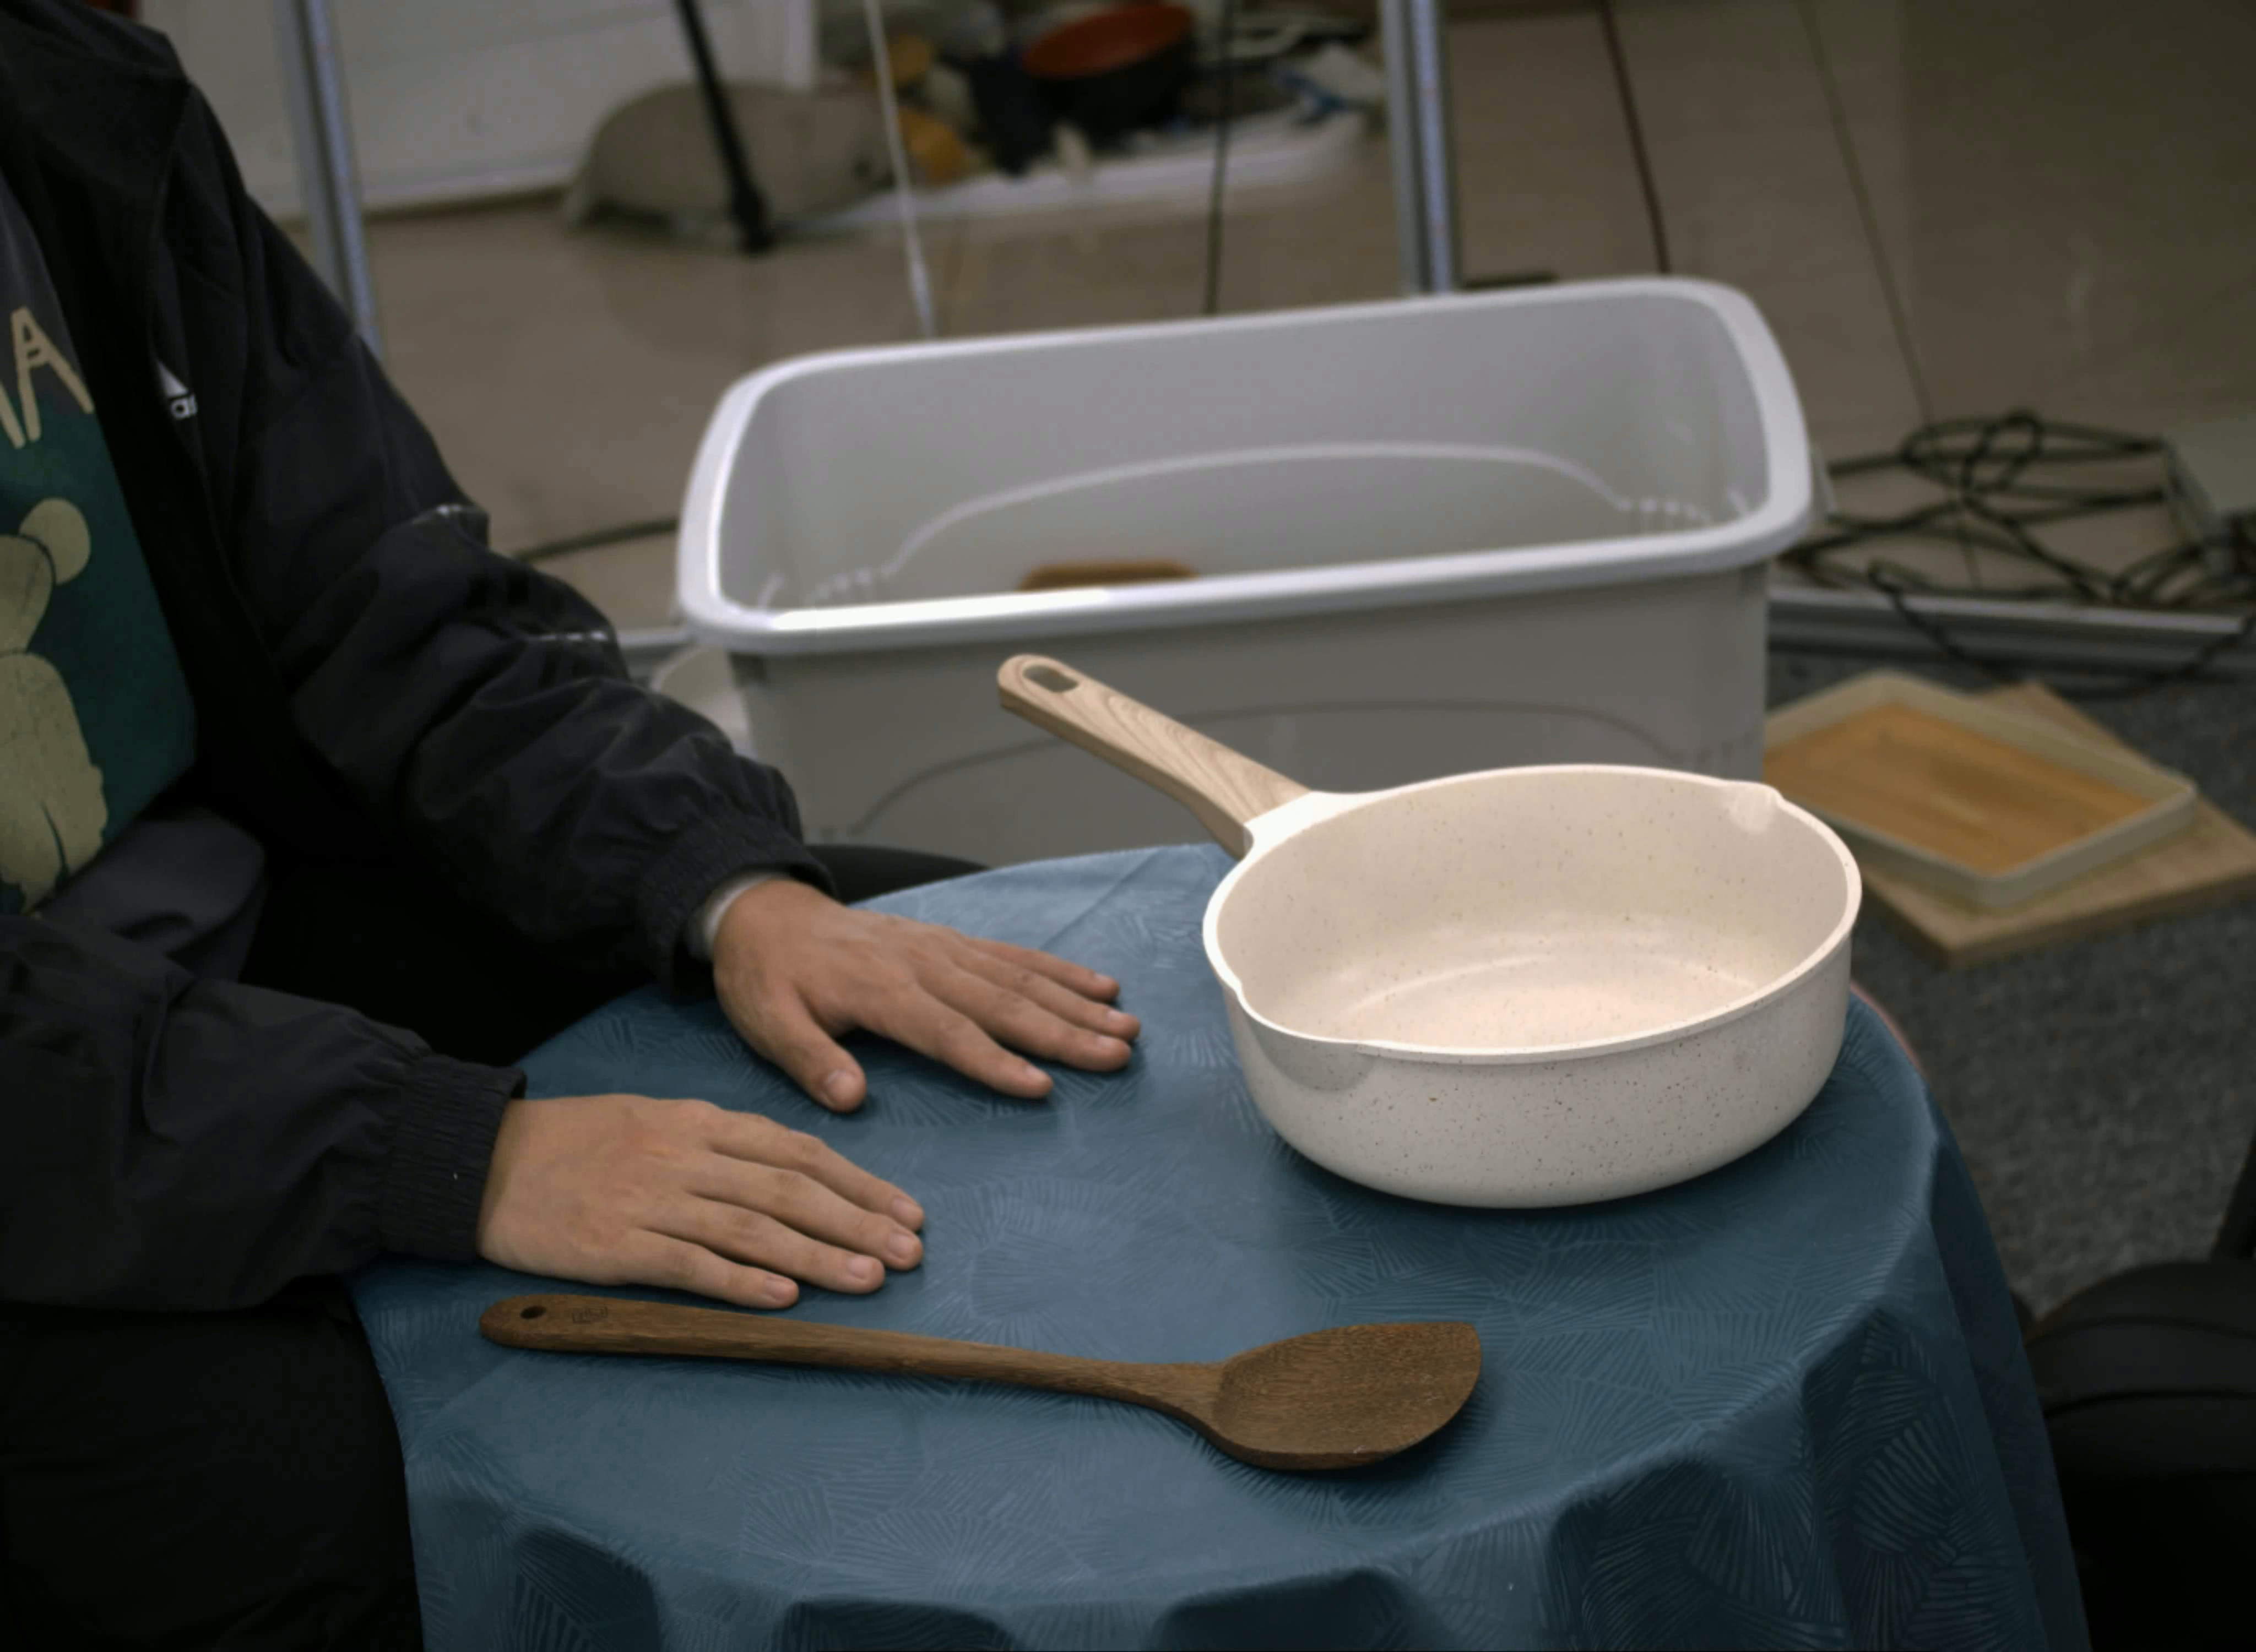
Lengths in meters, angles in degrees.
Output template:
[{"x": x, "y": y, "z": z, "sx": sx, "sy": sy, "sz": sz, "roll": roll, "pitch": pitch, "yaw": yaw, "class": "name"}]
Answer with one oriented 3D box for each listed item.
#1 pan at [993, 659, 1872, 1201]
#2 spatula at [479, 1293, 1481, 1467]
[{"x": 0.100, "y": 0.031, "z": 2.232, "sx": 0.261, "sy": 0.103, "sz": 0.431, "roll": -27, "pitch": 32, "yaw": -33, "class": "pan"}, {"x": -0.061, "y": 0.191, "z": 2.033, "sx": 0.385, "sy": 0.016, "sz": 0.095, "roll": 3, "pitch": 26, "yaw": 21, "class": "spatula"}]
